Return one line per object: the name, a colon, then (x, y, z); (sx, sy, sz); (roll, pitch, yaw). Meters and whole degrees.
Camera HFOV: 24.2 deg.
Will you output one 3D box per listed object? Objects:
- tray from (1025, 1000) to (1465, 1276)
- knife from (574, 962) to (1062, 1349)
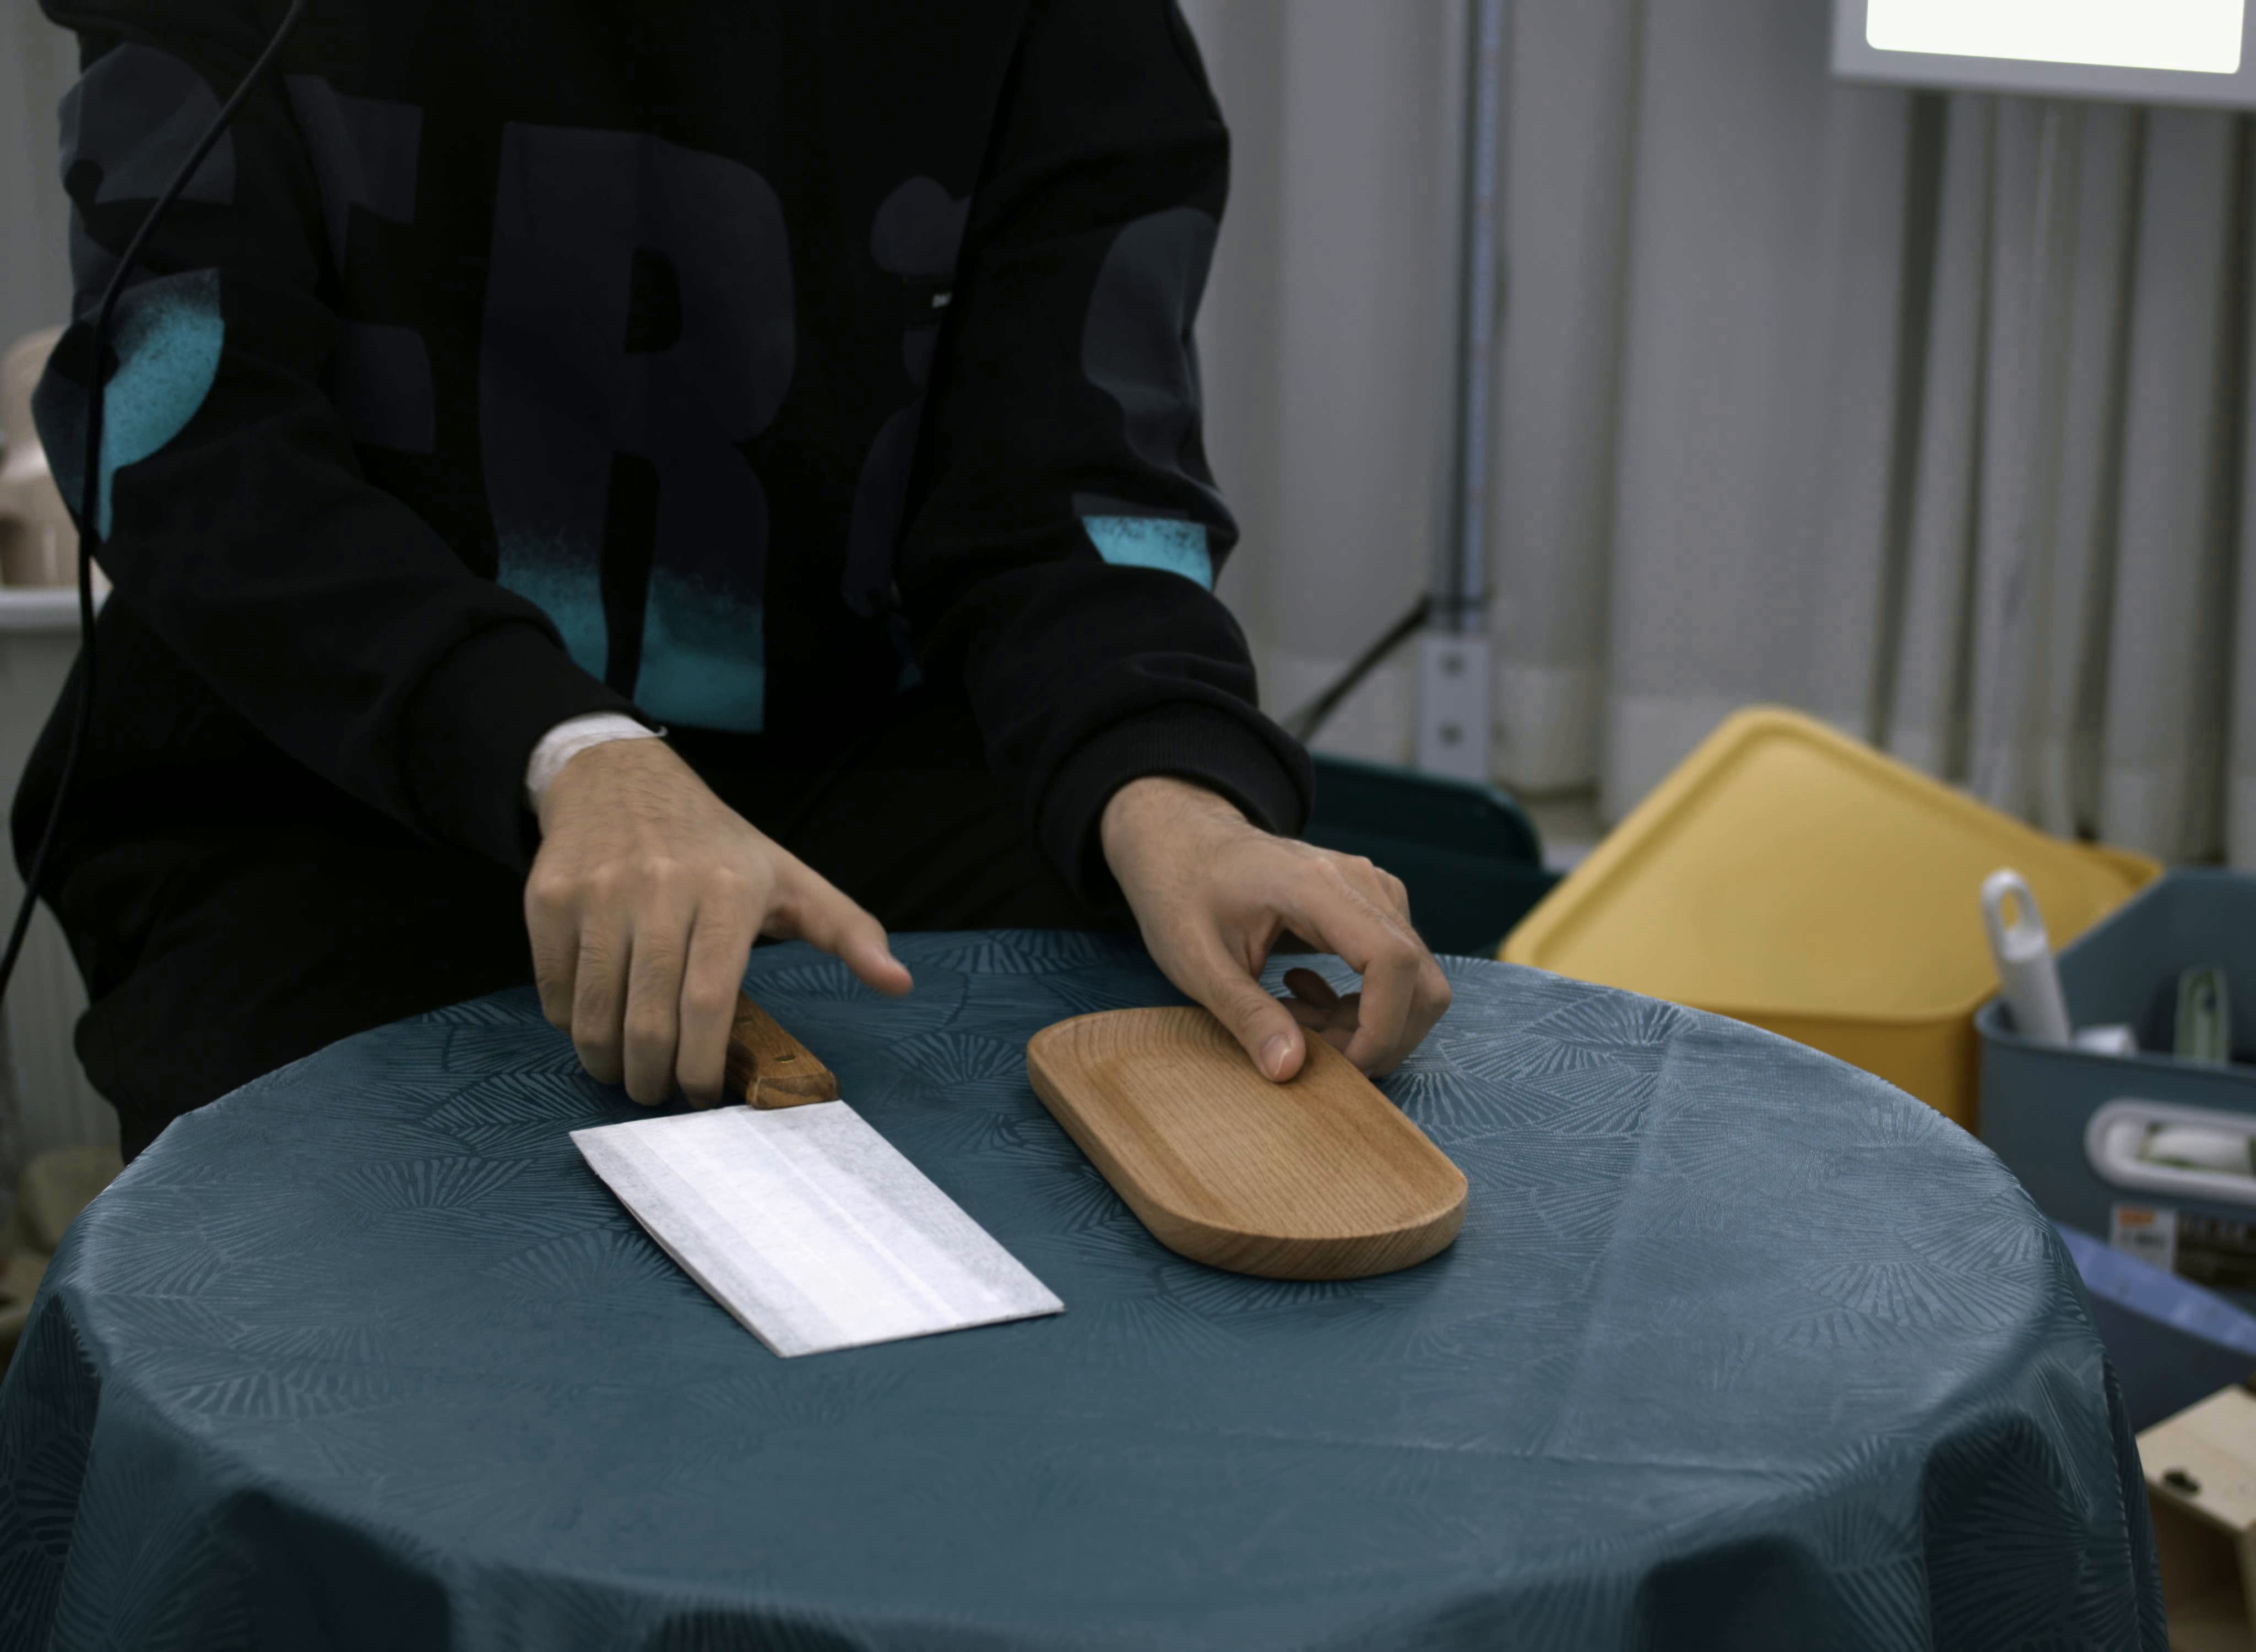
tray: (0.034, 0.095, 1.652); (0.102, 0.020, 0.229); (-2, 15, -15)
knife: (-0.118, 0.101, 1.631); (0.093, 0.021, 0.302); (-8, 20, -23)
